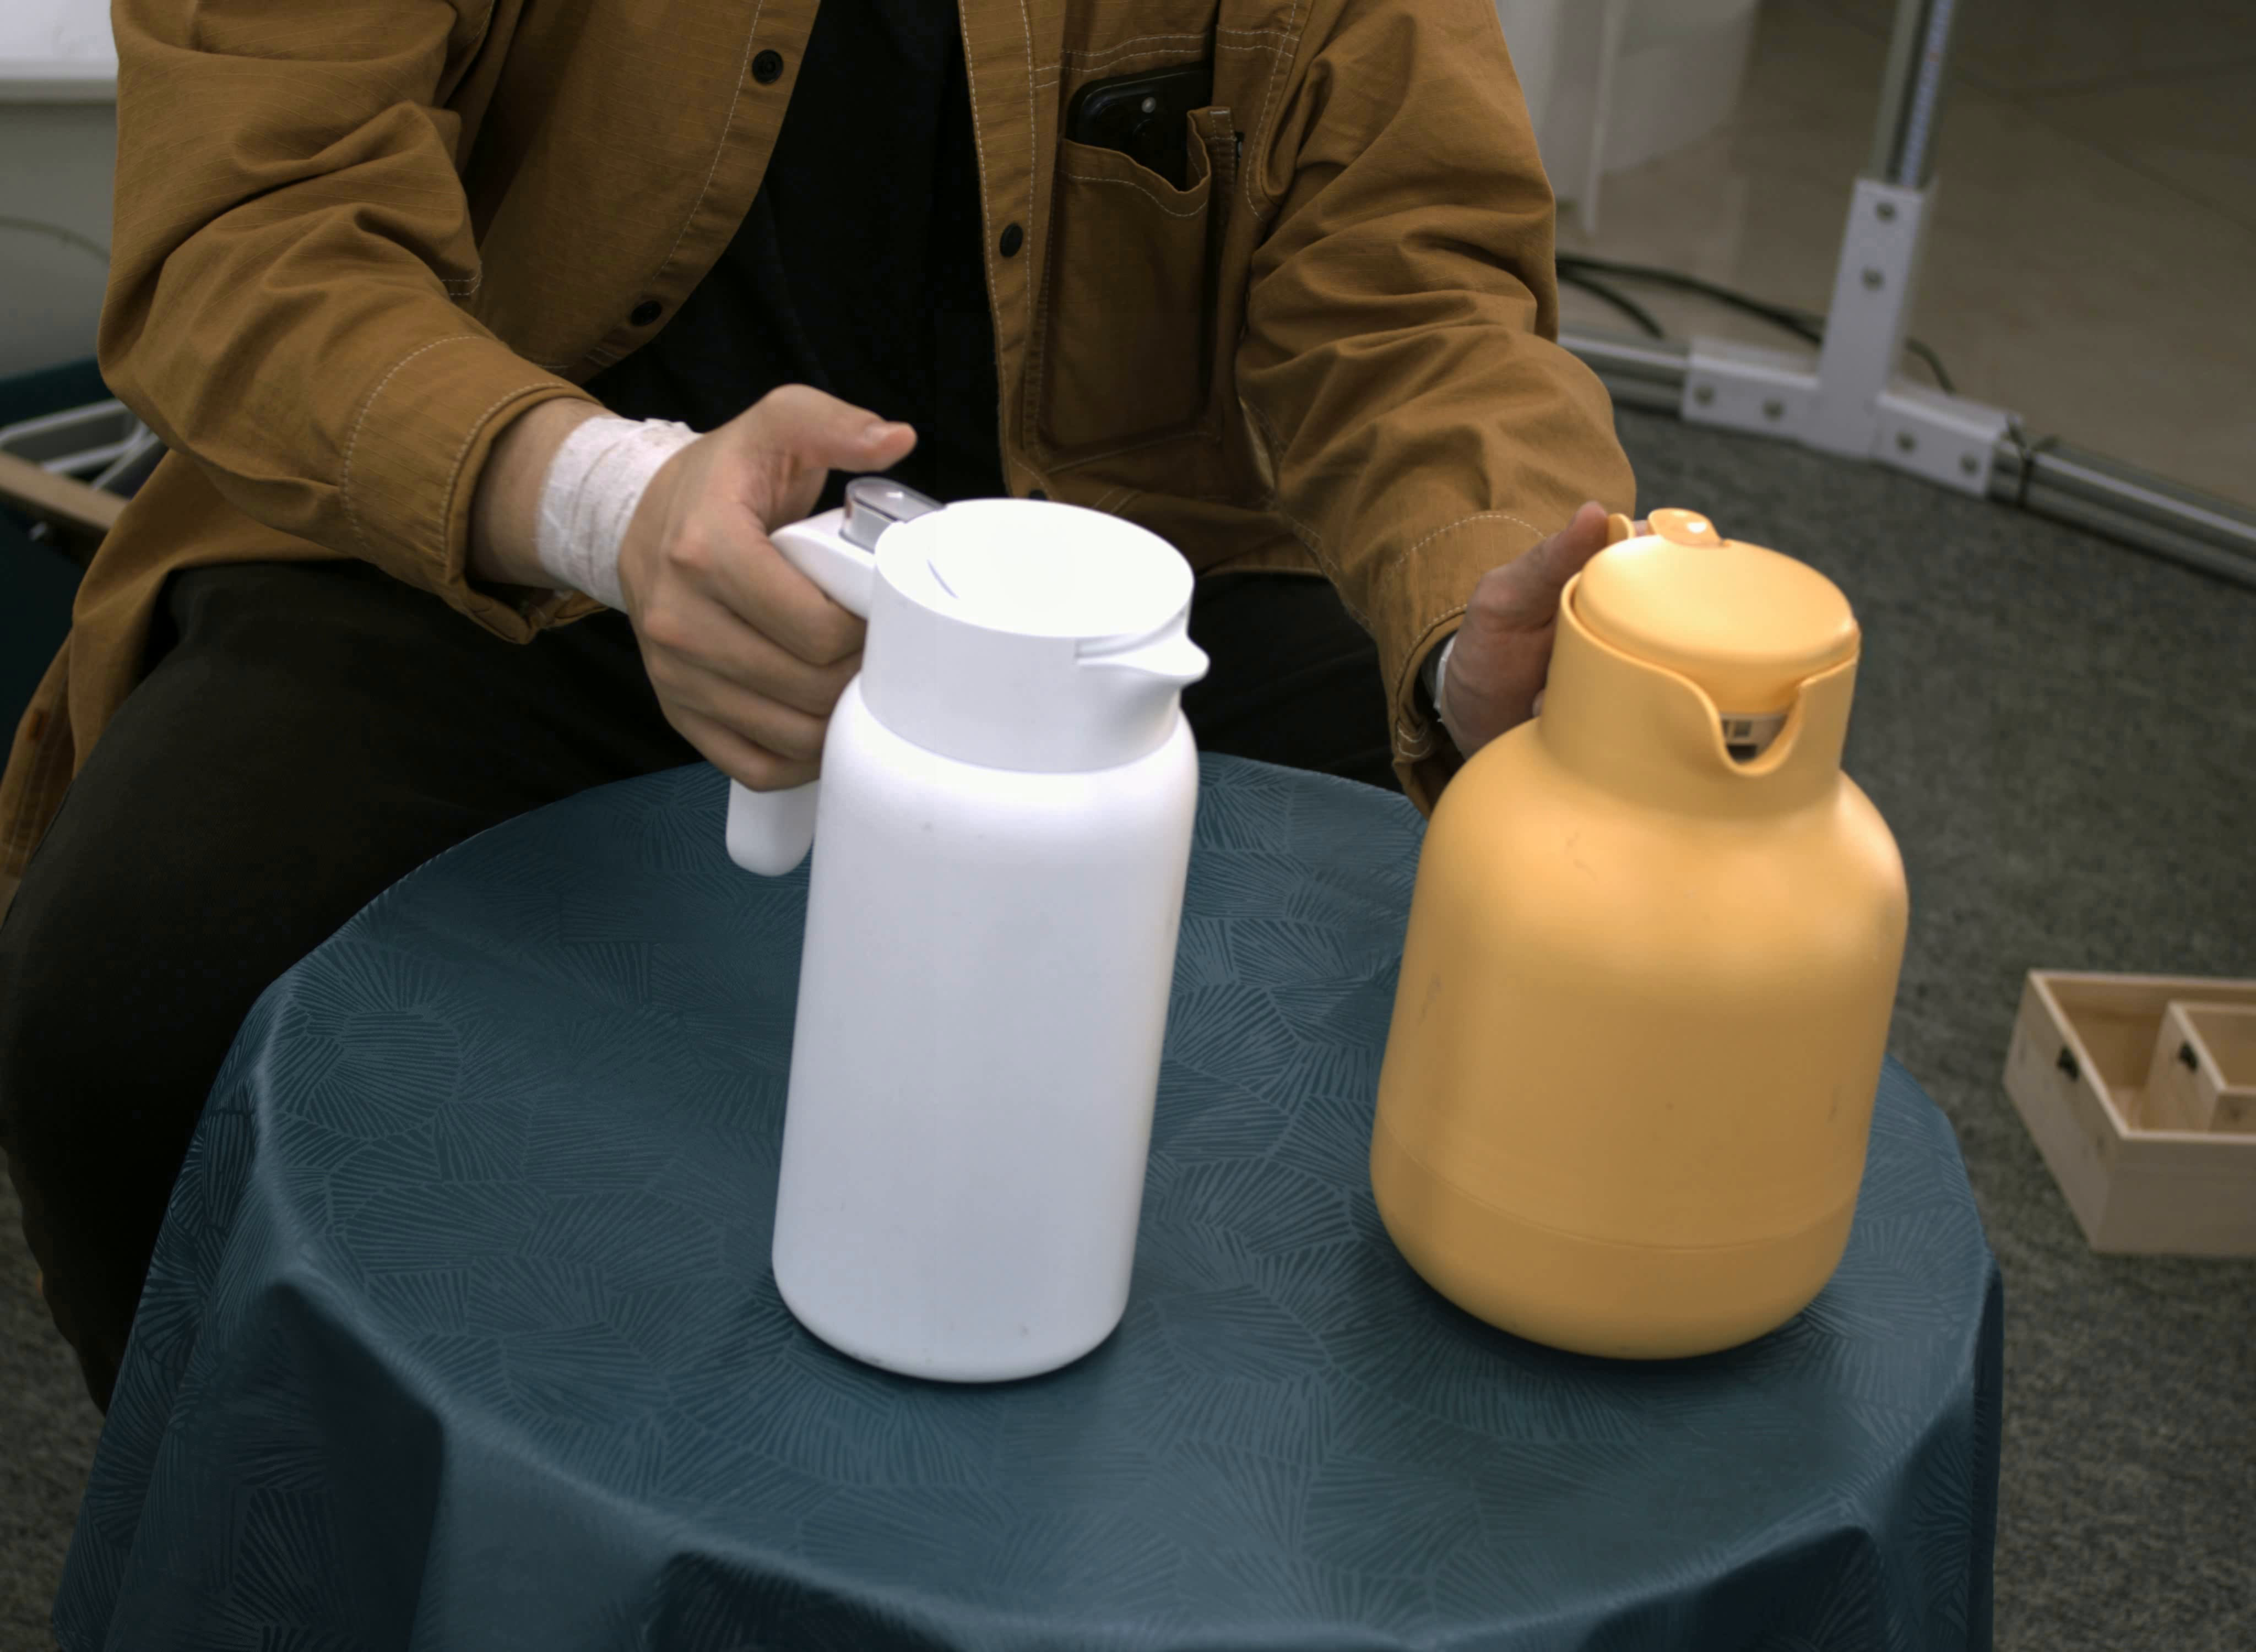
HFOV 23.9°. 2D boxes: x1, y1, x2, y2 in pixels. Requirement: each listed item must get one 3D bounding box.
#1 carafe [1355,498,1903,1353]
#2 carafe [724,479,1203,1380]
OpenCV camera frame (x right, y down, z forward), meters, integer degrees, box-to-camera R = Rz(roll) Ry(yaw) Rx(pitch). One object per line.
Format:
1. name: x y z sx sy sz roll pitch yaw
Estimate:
1. carafe: 0.170 0.023 1.751 0.163 0.259 0.204 6 28 -7
2. carafe: -0.059 0.029 1.683 0.174 0.268 0.123 25 34 33
